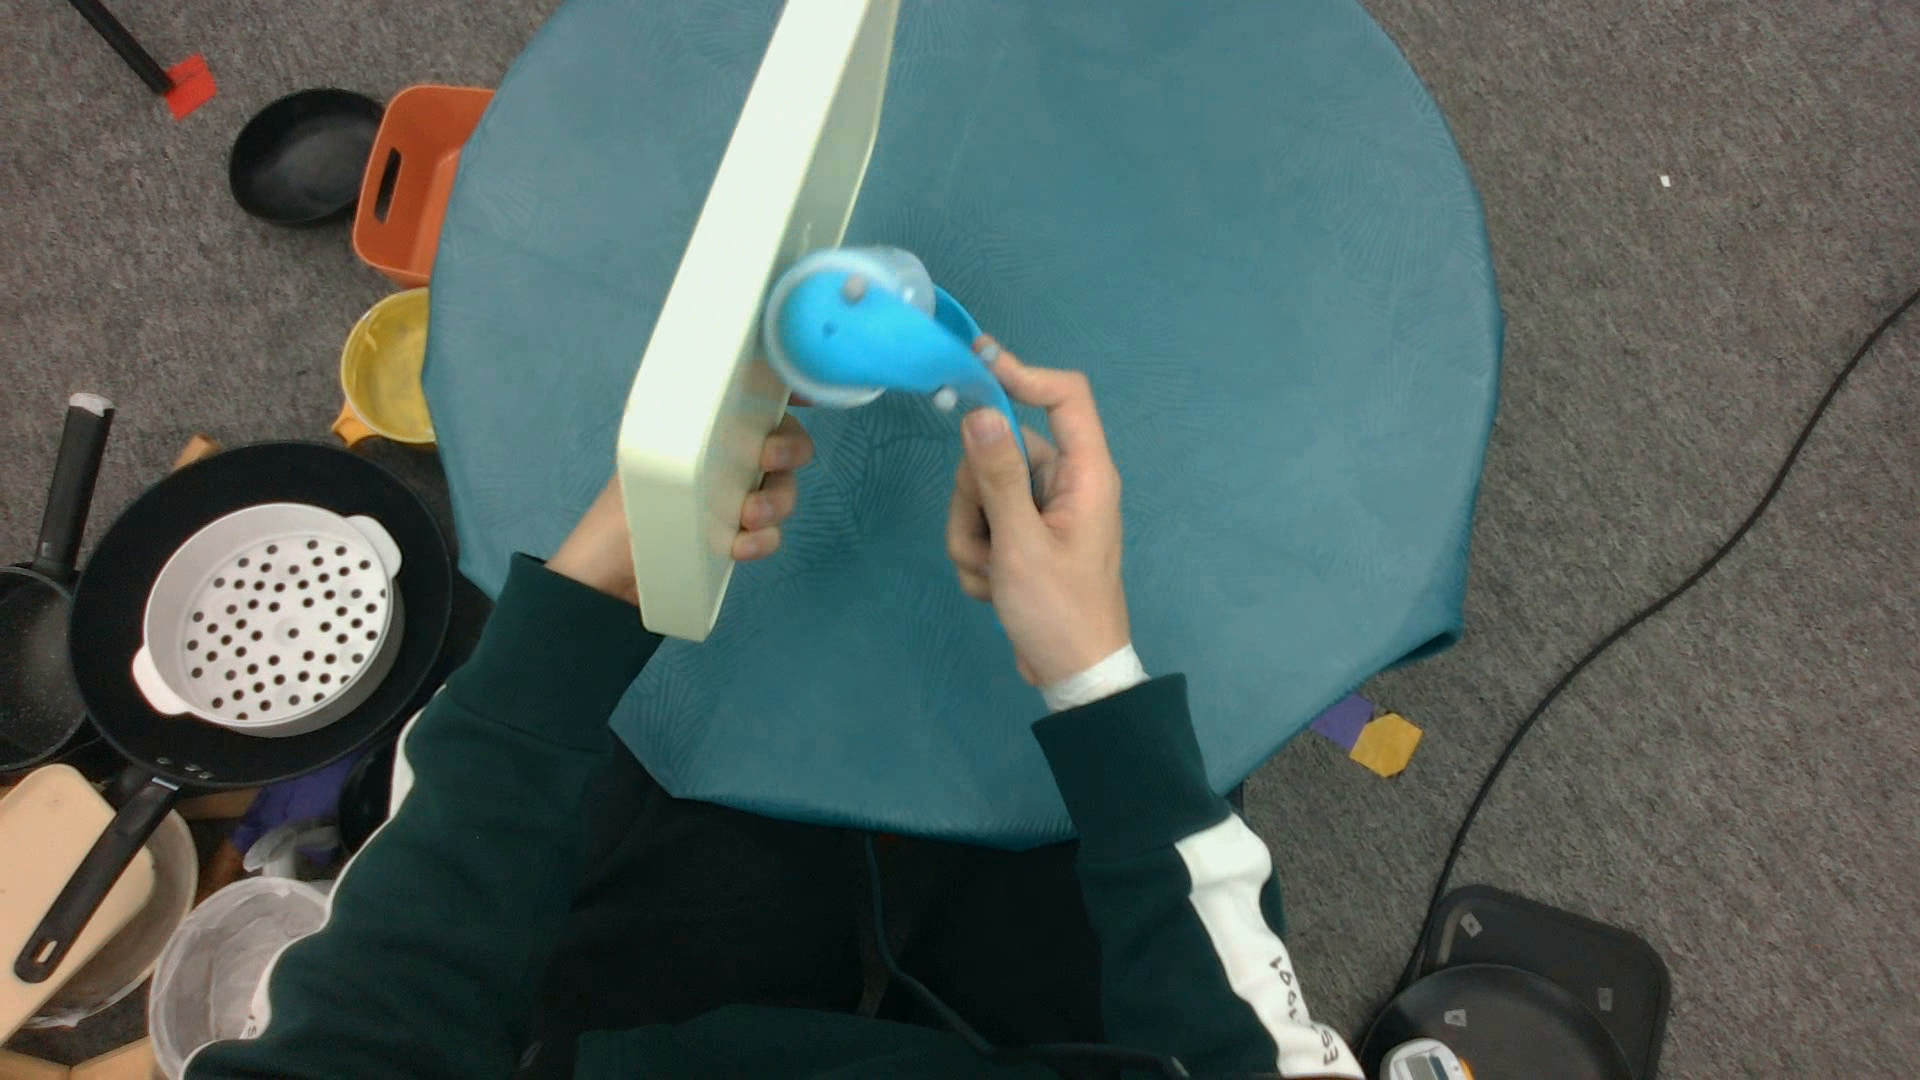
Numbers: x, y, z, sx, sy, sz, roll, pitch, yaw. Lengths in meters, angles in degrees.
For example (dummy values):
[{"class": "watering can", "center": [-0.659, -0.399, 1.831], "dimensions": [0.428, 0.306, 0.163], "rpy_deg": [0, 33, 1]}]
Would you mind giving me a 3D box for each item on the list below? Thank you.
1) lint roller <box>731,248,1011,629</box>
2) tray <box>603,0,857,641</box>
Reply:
[{"class": "lint roller", "center": [-0.018, -0.049, 0.596], "dimensions": [0.068, 0.229, 0.180], "rpy_deg": [-37, 103, 7]}, {"class": "tray", "center": [-0.085, -0.123, 0.568], "dimensions": [0.027, 0.191, 0.301], "rpy_deg": [13, 65, -4]}]
